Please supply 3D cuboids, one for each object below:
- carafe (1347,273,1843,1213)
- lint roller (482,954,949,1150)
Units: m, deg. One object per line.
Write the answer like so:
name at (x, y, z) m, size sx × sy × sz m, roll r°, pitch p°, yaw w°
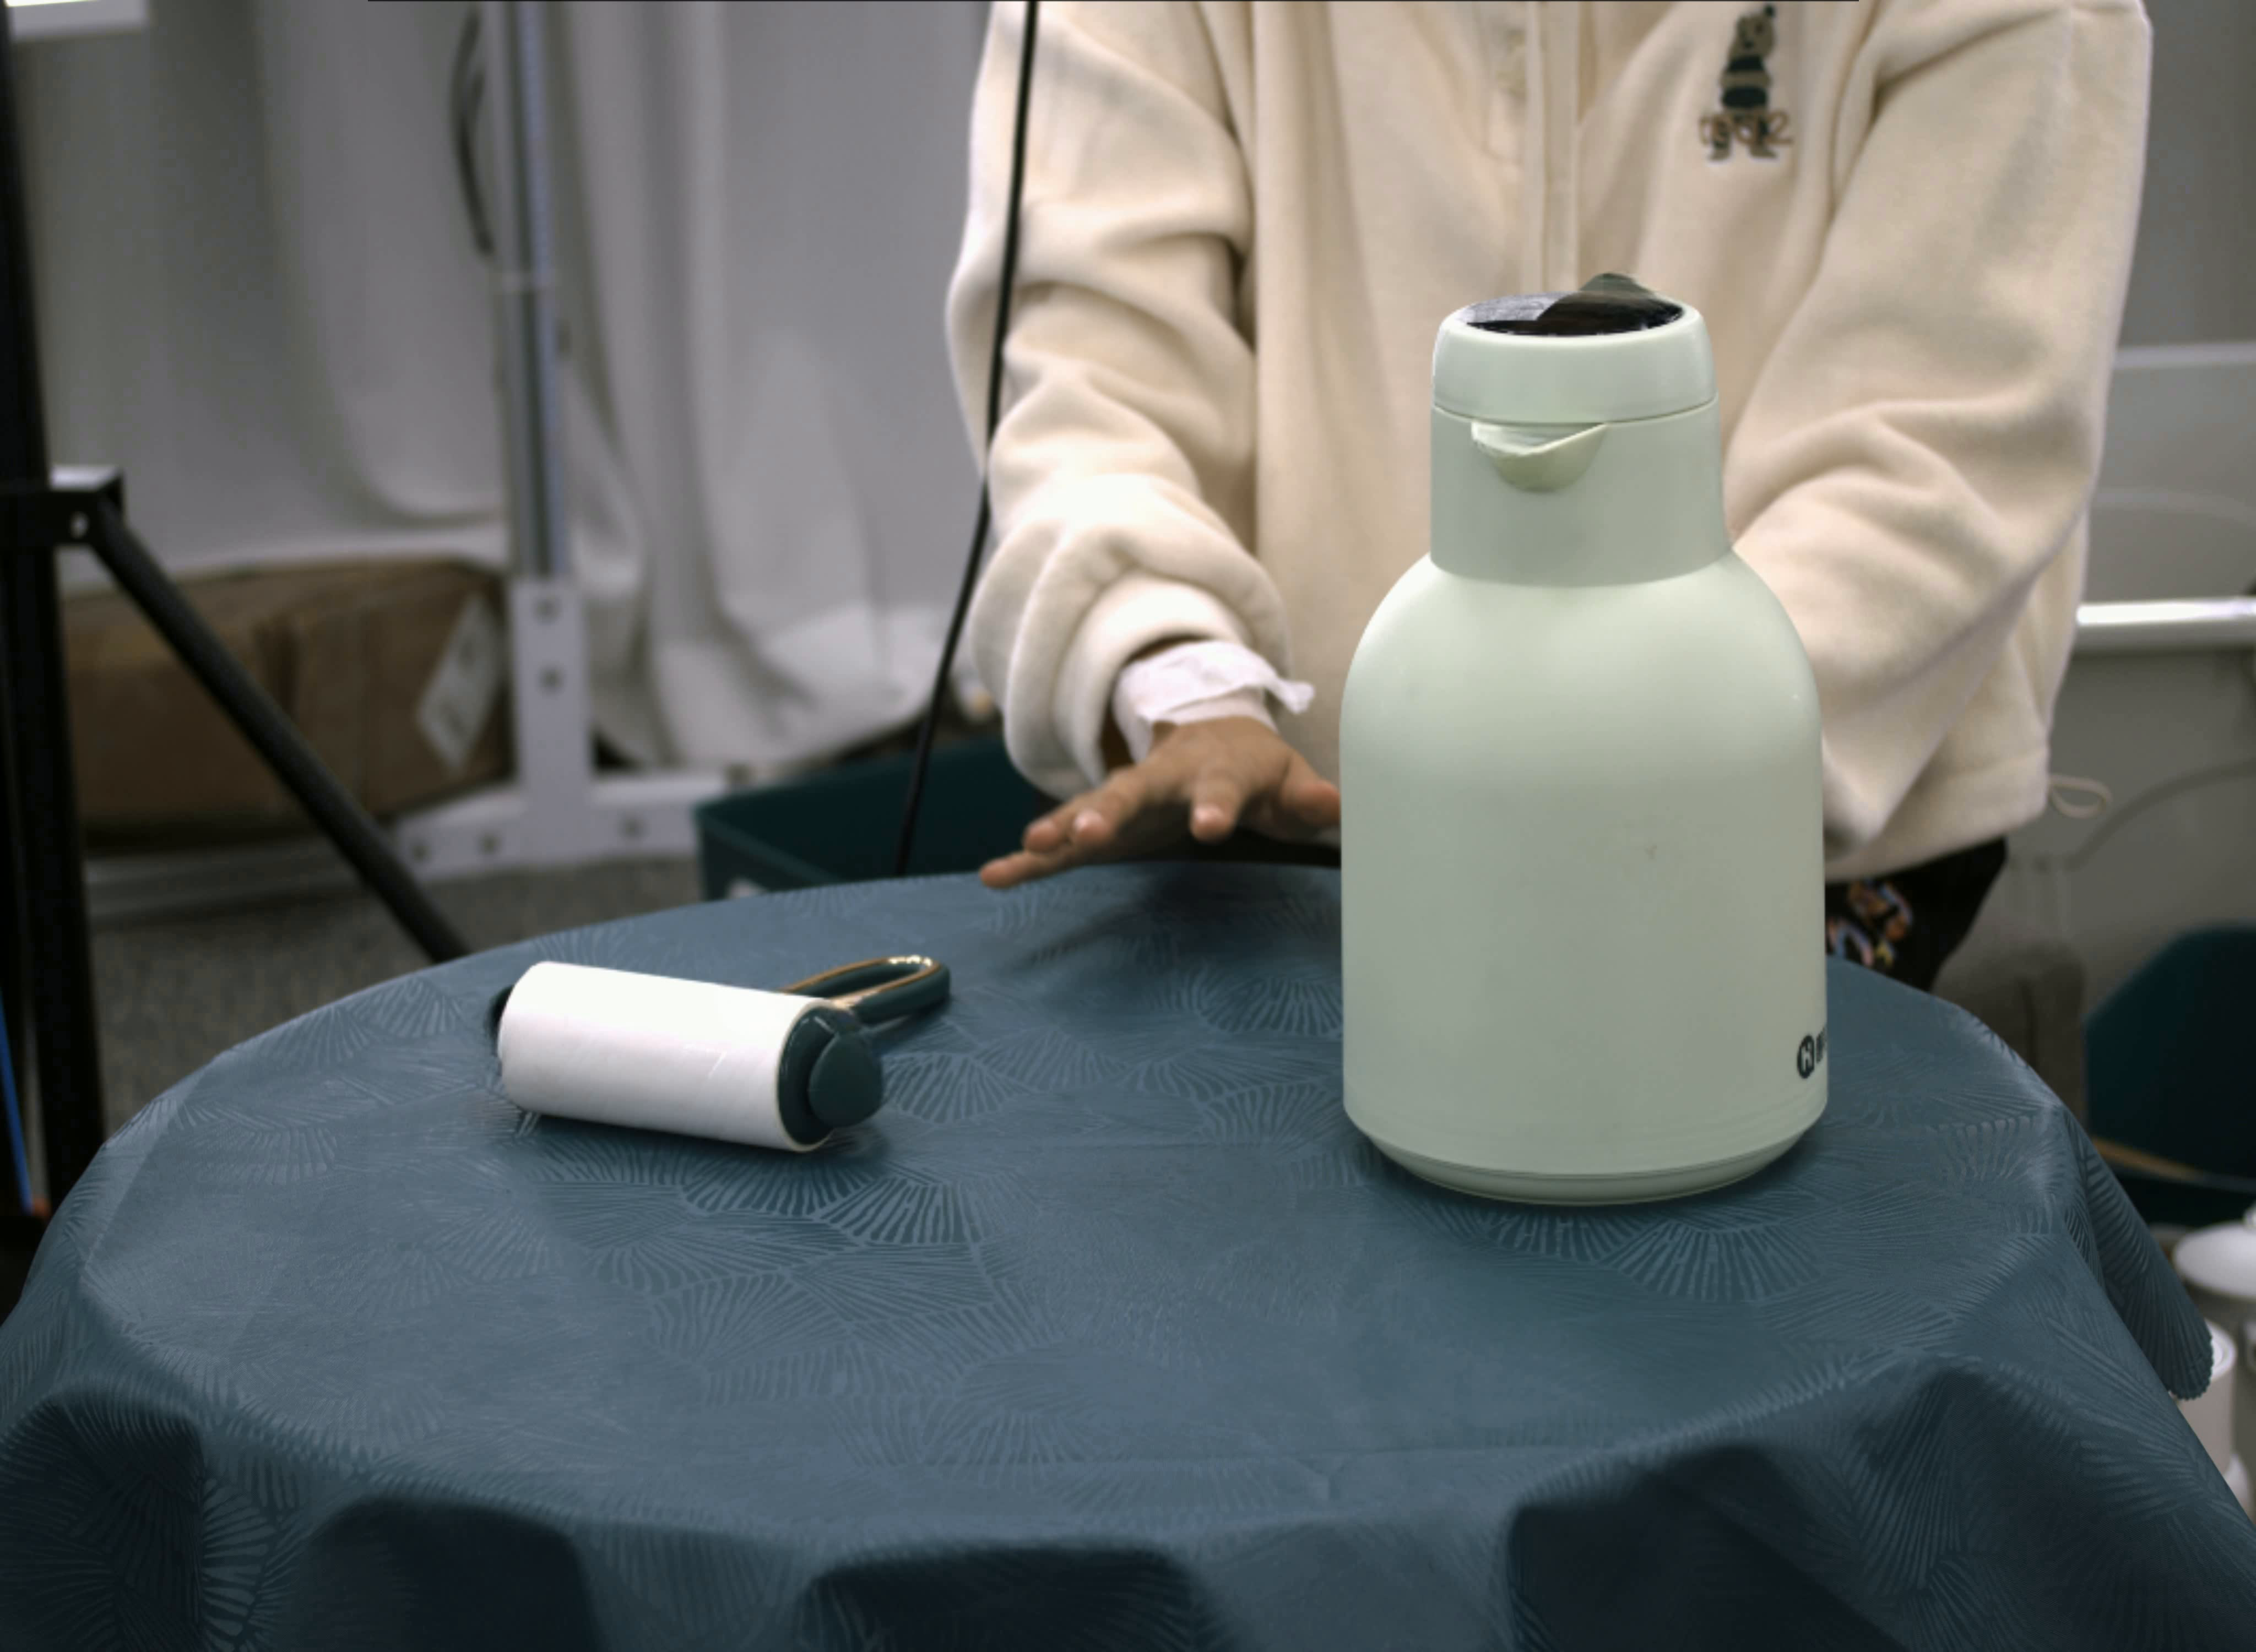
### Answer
carafe at (0.139, -0.028, 1.561) m, size 0.146 × 0.257 × 0.184 m, roll 2°, pitch 12°, yaw 22°
lint roller at (-0.107, 0.052, 1.683) m, size 0.136 × 0.048 × 0.177 m, roll 7°, pitch 19°, yaw 28°
